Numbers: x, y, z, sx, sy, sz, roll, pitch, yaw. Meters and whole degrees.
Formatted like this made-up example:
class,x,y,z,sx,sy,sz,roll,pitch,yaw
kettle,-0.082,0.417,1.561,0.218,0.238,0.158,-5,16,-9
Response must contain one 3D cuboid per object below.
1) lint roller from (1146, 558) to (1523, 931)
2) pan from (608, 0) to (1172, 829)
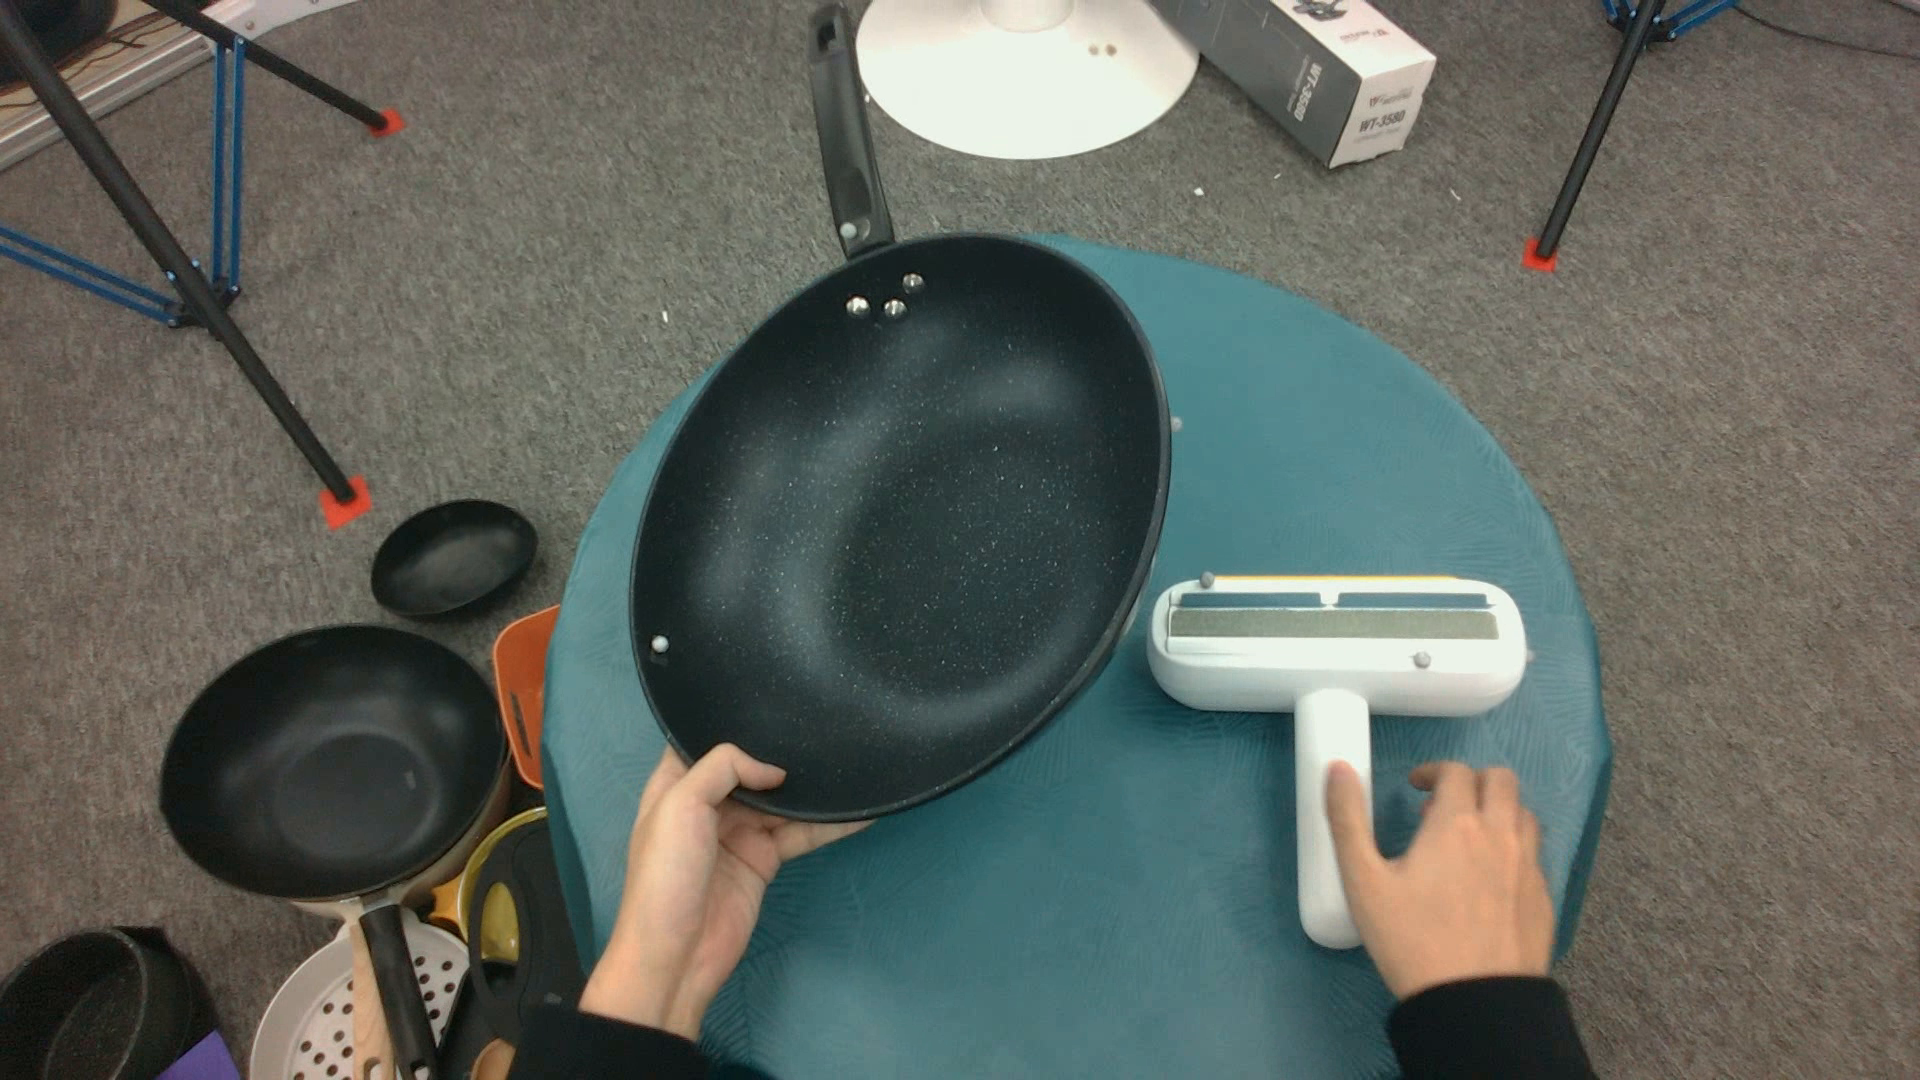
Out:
class,x,y,z,sx,sy,sz,roll,pitch,yaw
lint roller,0.188,0.101,0.712,0.193,0.074,0.193,5,58,10
pan,-0.042,-0.085,0.713,0.309,0.111,0.478,-19,61,23
